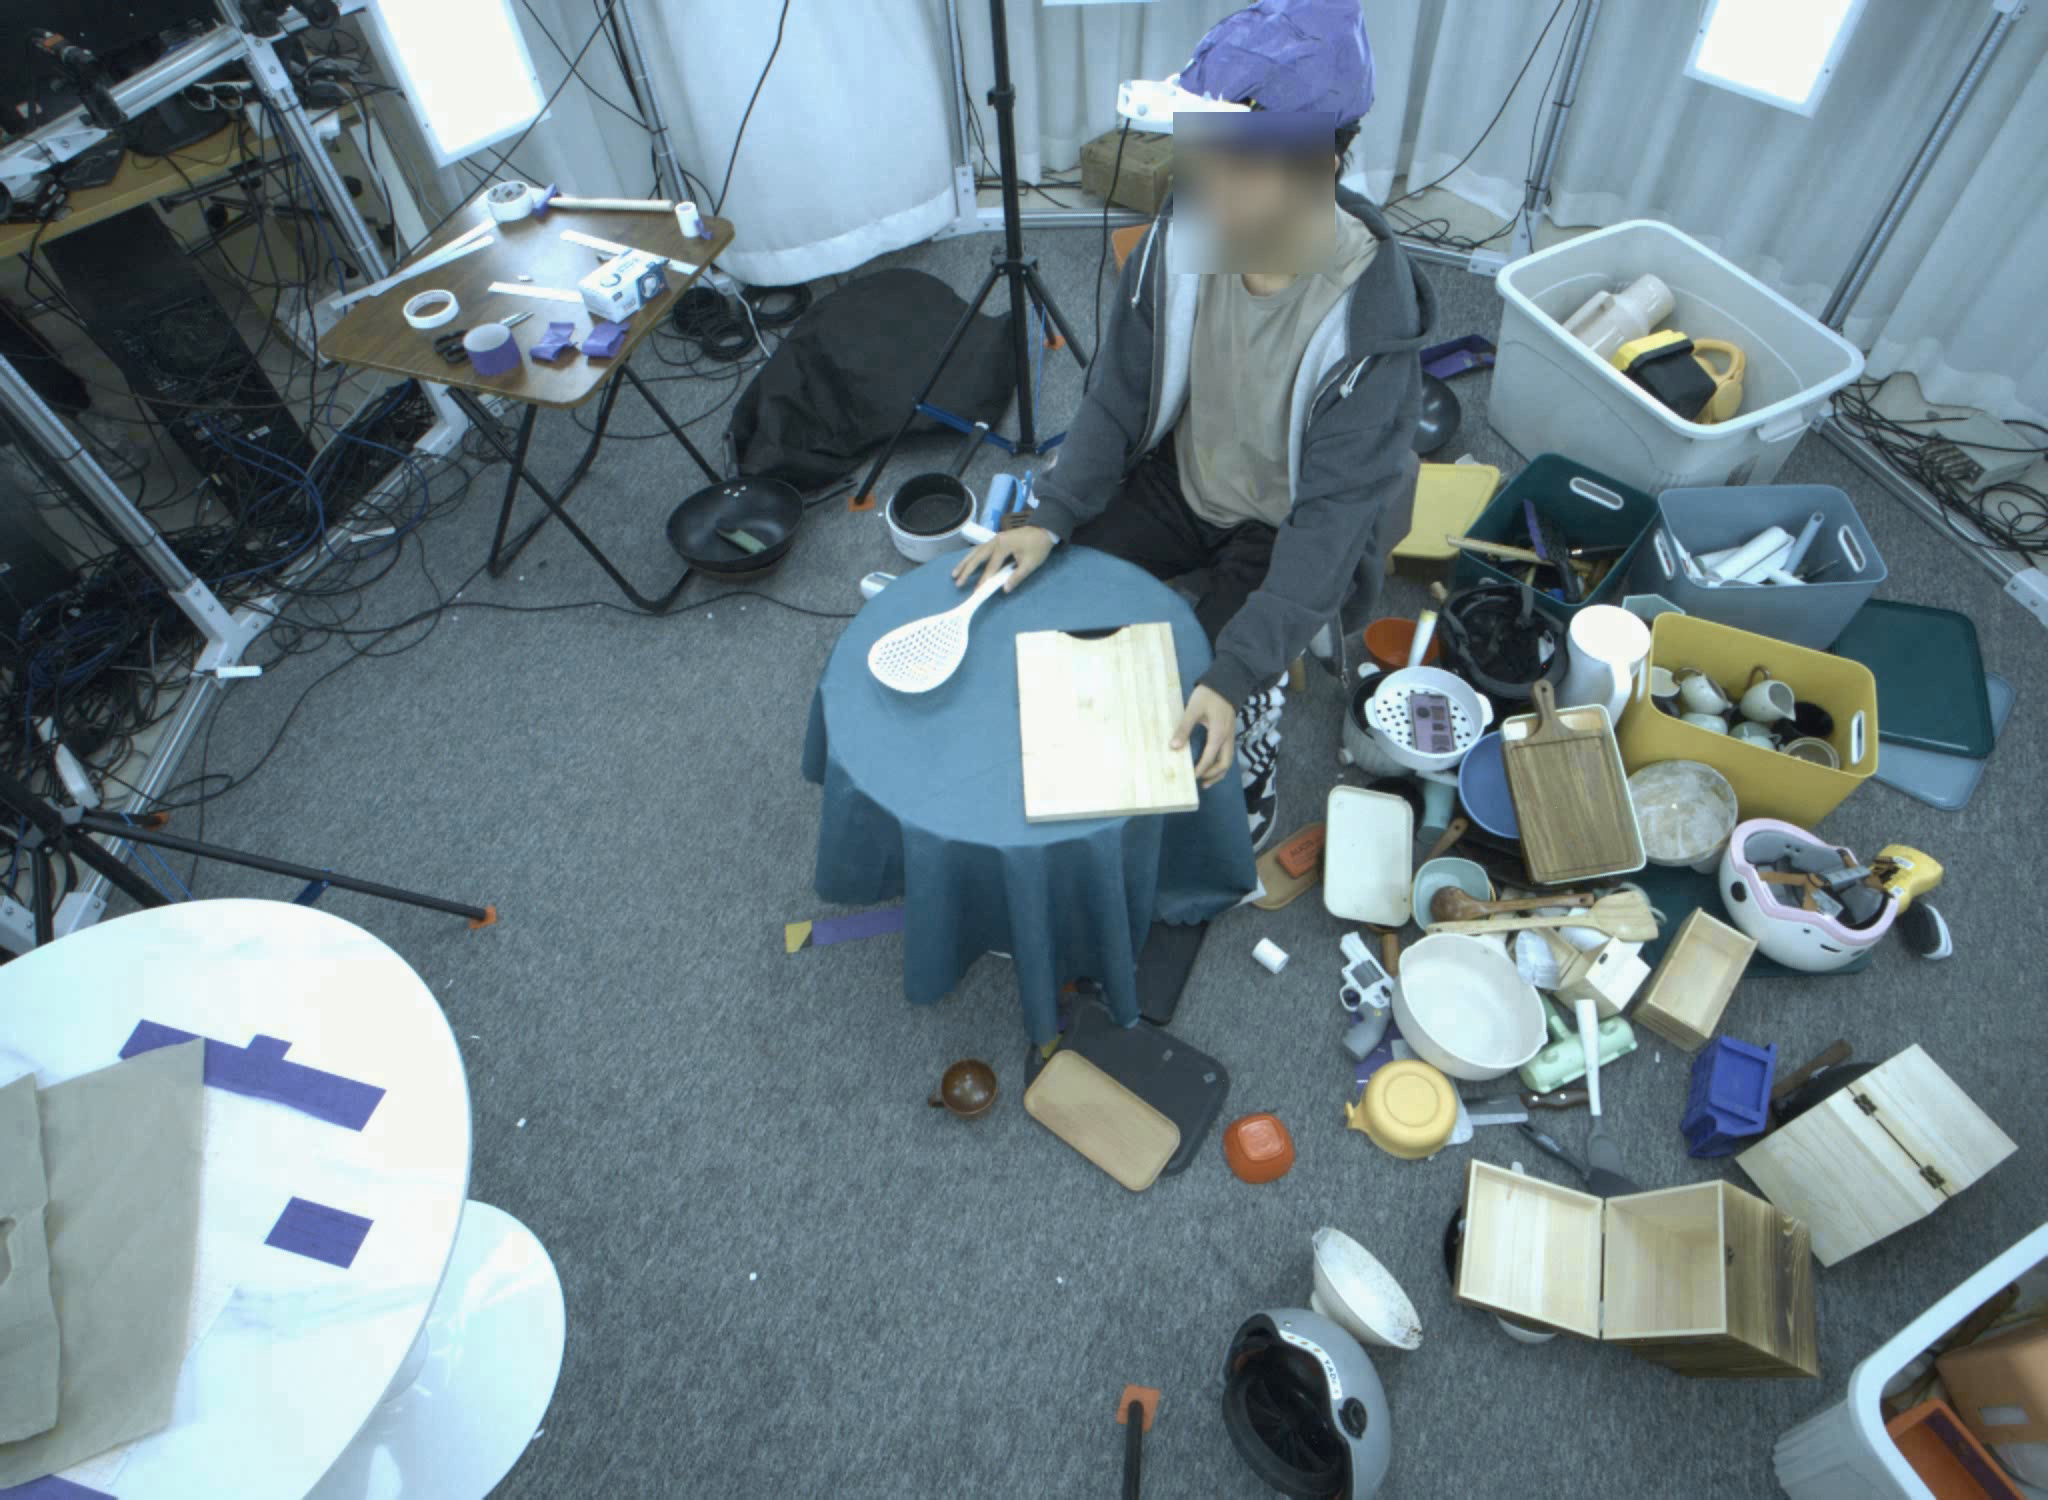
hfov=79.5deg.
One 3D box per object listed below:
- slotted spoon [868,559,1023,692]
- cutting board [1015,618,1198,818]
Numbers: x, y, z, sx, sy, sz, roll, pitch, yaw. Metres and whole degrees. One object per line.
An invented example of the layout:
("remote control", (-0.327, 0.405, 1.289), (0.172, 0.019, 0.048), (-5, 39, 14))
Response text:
("slotted spoon", (-0.101, -0.204, 1.913), (0.134, 0.051, 0.349), (27, 60, 22))
("cutting board", (0.115, -0.052, 1.813), (0.251, 0.024, 0.344), (-4, 55, -1))
